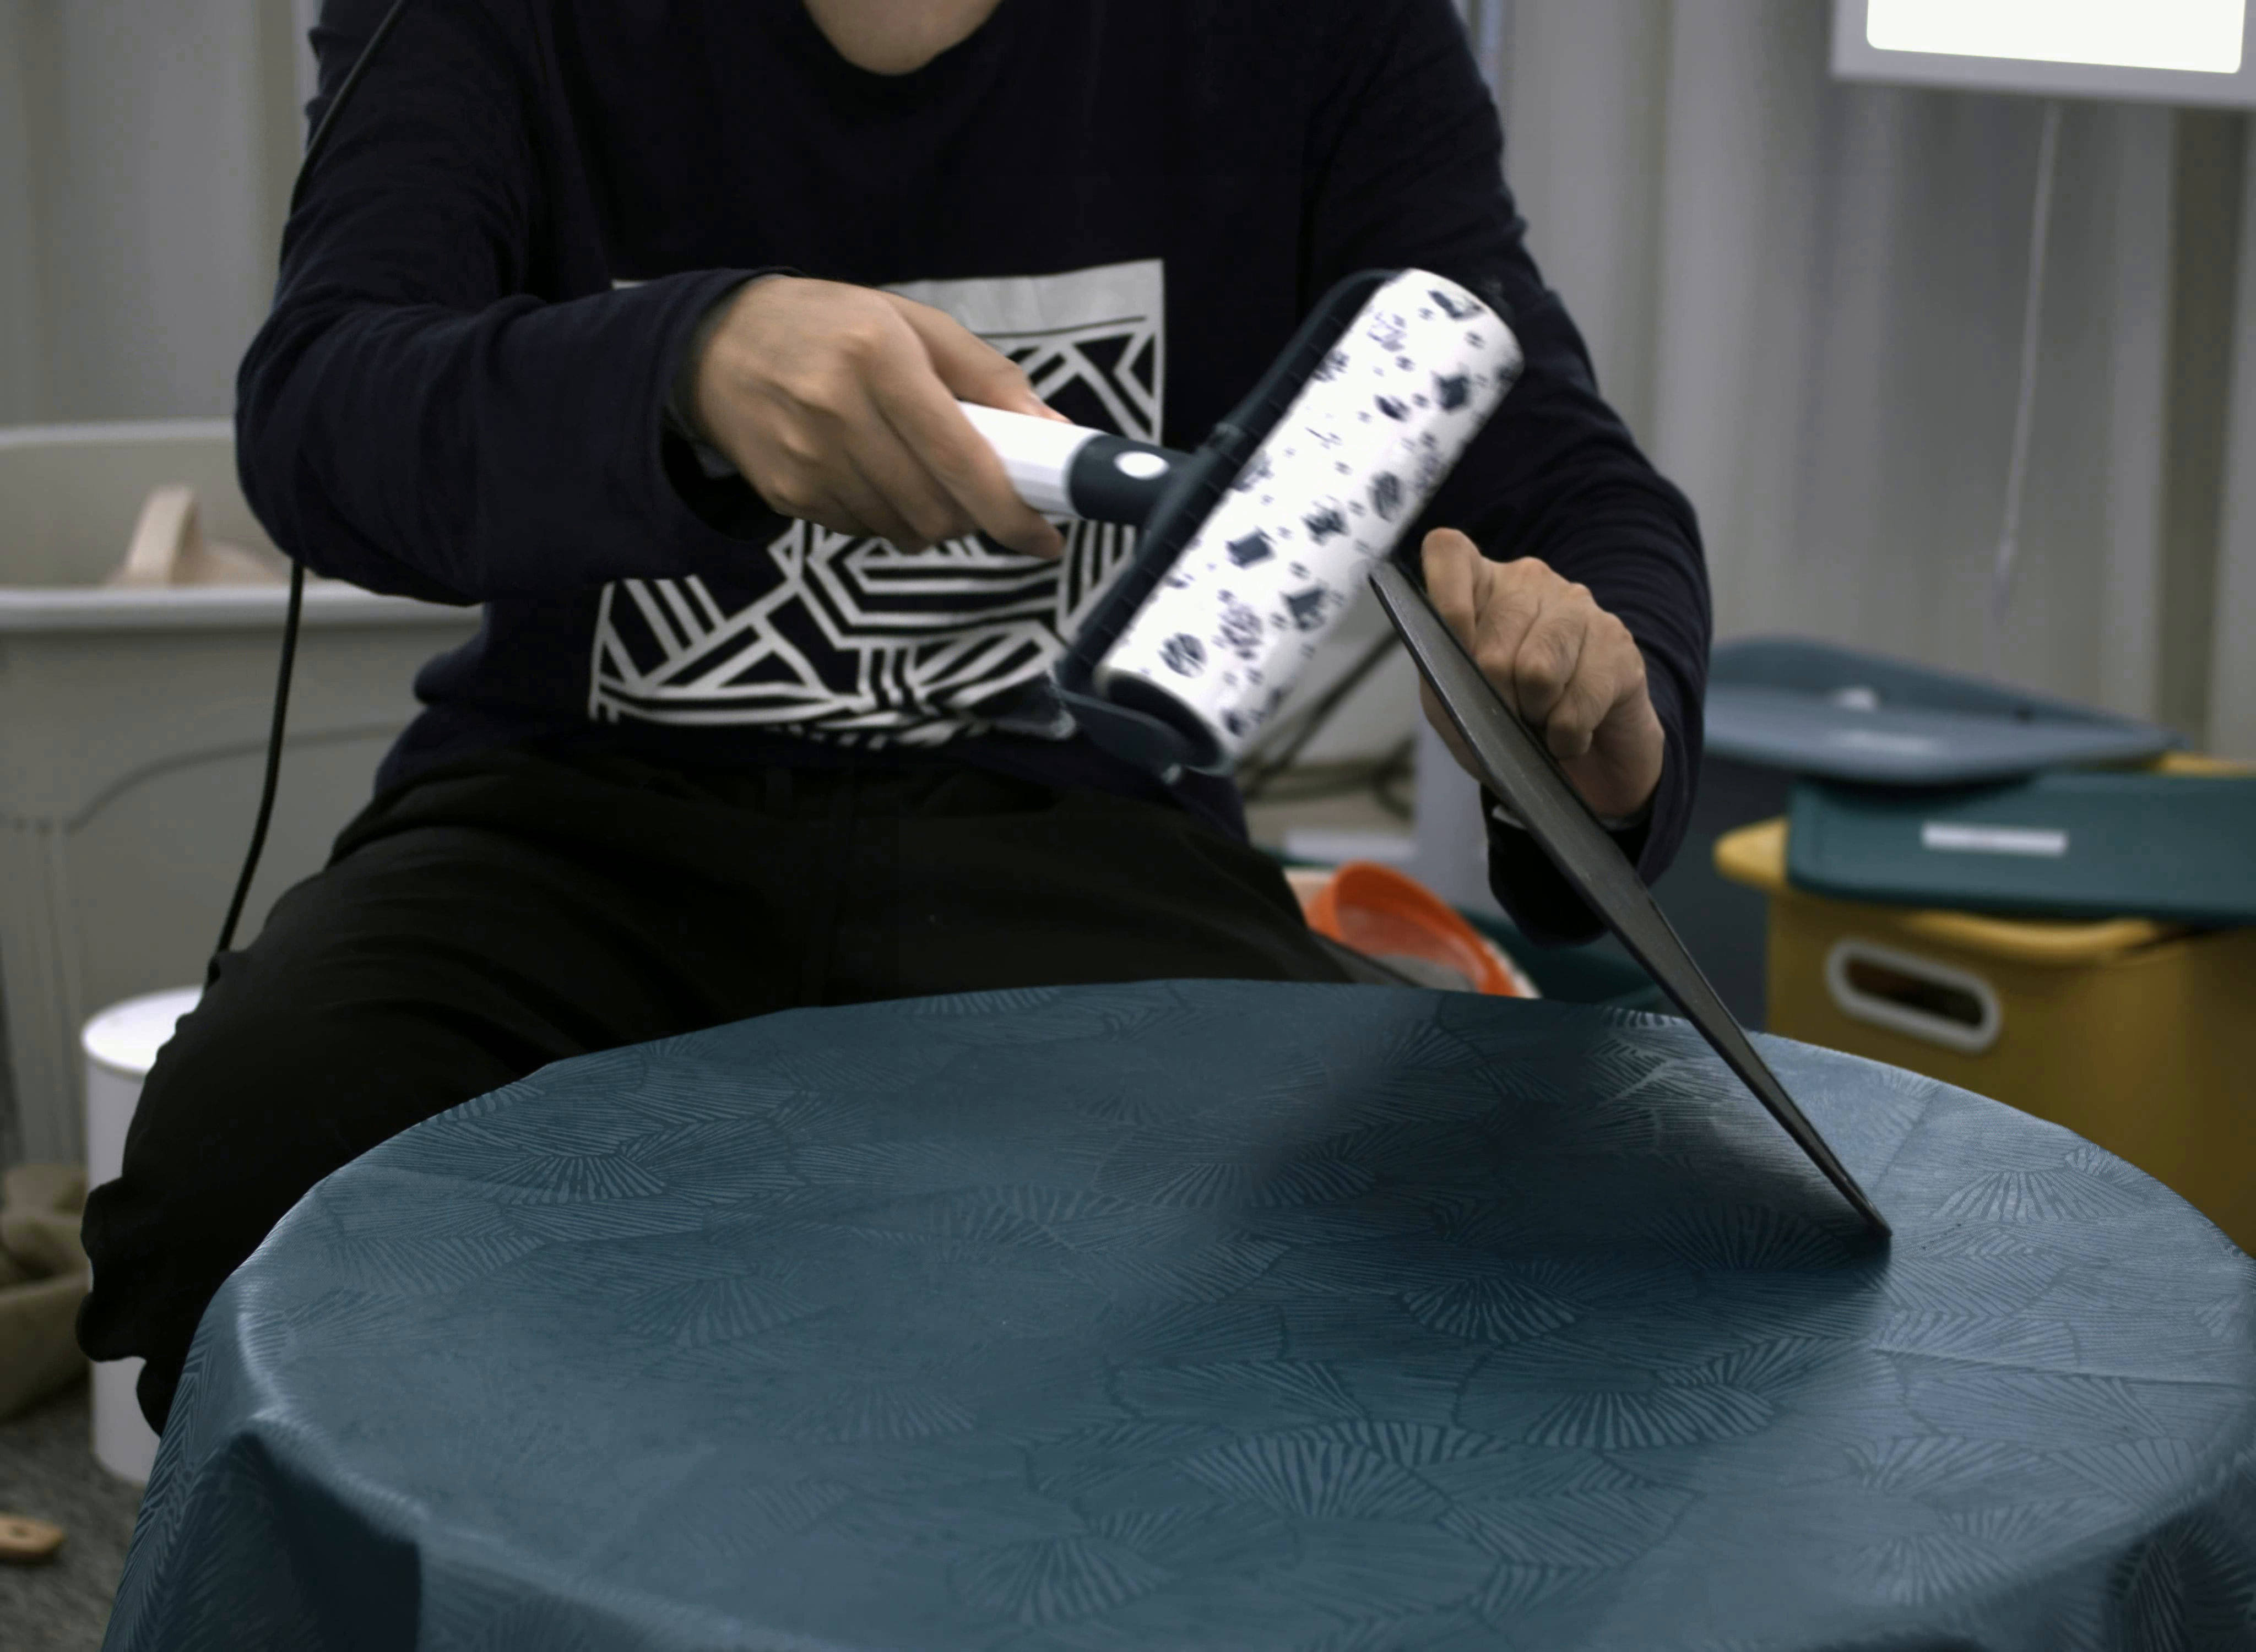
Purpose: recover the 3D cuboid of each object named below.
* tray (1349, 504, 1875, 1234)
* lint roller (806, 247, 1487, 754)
[{"bbox_3d":[0.142,-0.001,1.663,0.010,0.213,0.322,-38,25,7],"label":"tray"},{"bbox_3d":[-0.023,-0.111,1.614,0.244,0.051,0.176,14,61,45],"label":"lint roller"}]
